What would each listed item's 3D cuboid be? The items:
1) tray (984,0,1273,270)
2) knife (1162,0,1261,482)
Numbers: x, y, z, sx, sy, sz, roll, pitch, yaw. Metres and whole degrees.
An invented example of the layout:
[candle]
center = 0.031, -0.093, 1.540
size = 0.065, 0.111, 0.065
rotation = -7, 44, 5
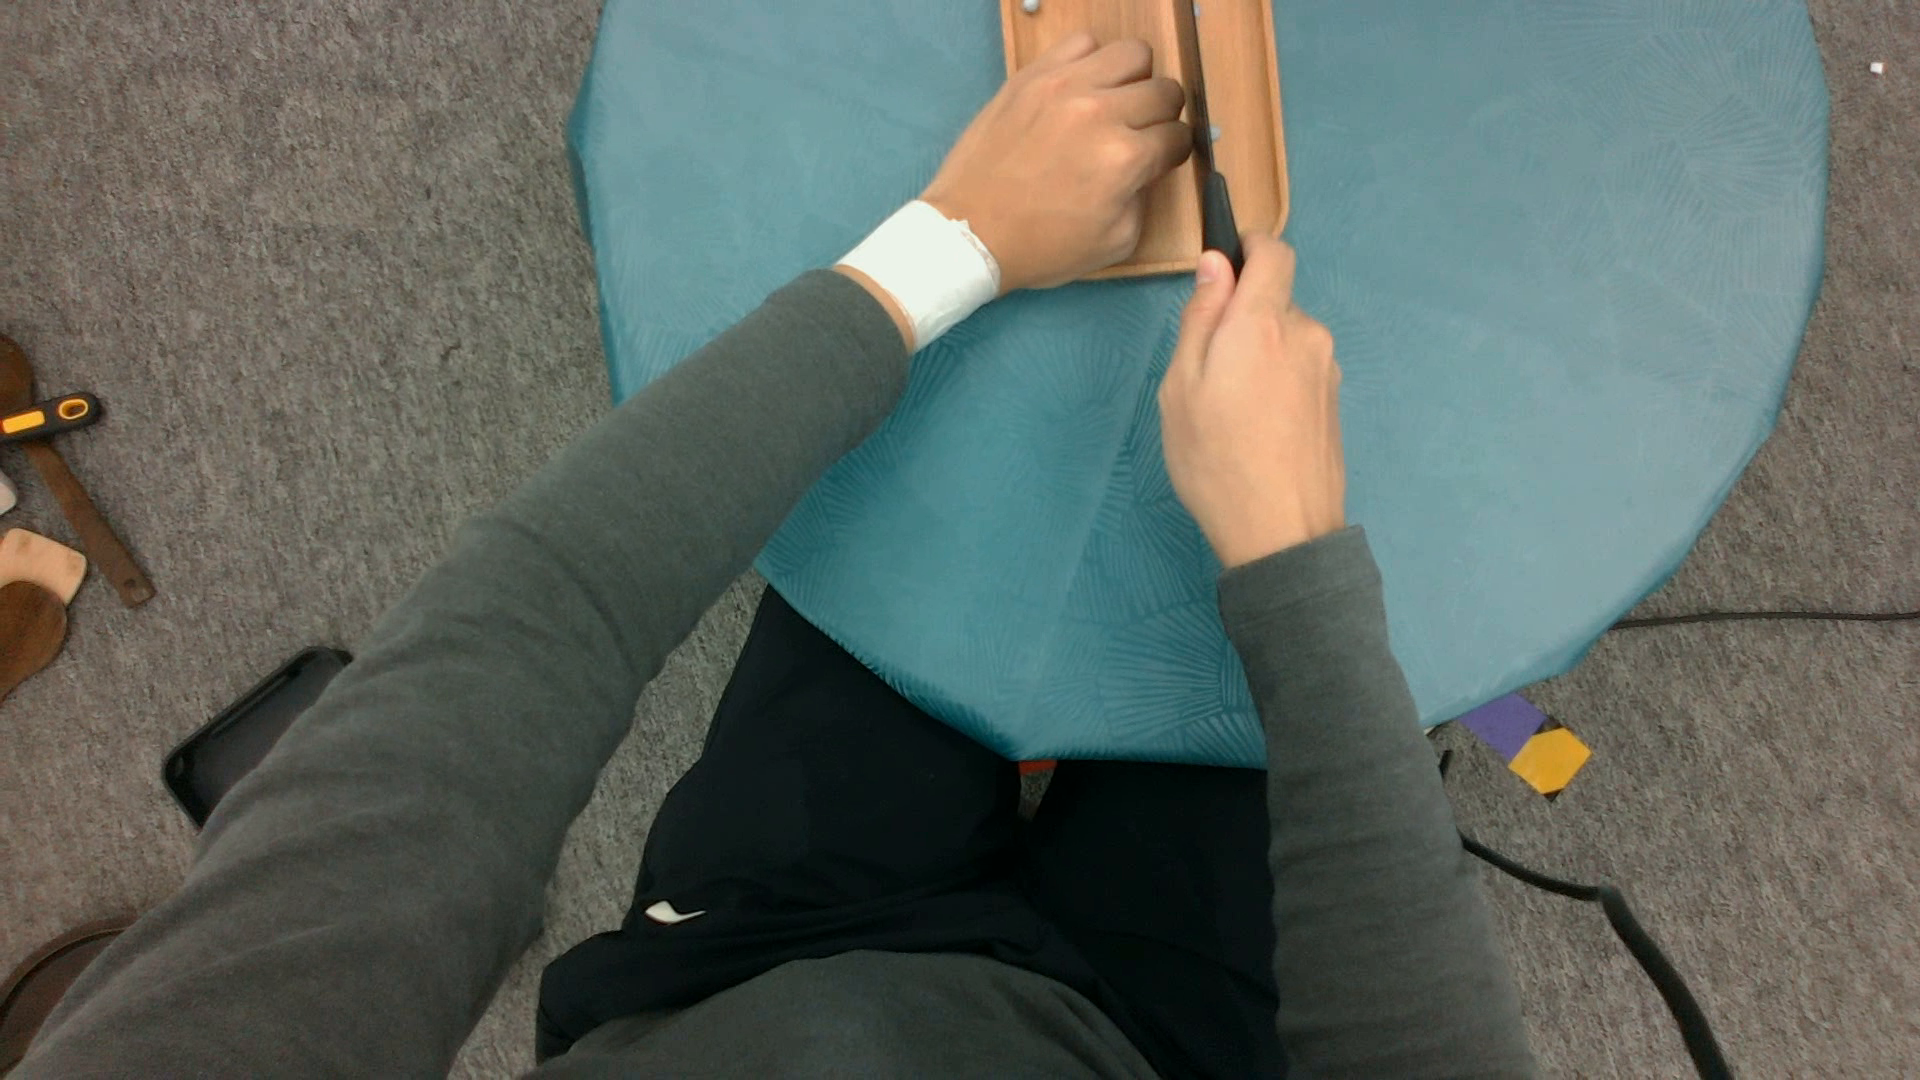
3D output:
[tray]
center = 0.077, -0.255, 0.663
size = 0.130, 0.023, 0.251
rotation = -4, 87, 2
[knife]
center = 0.101, -0.175, 0.606
size = 0.021, 0.081, 0.303
rotation = -7, 79, 5
